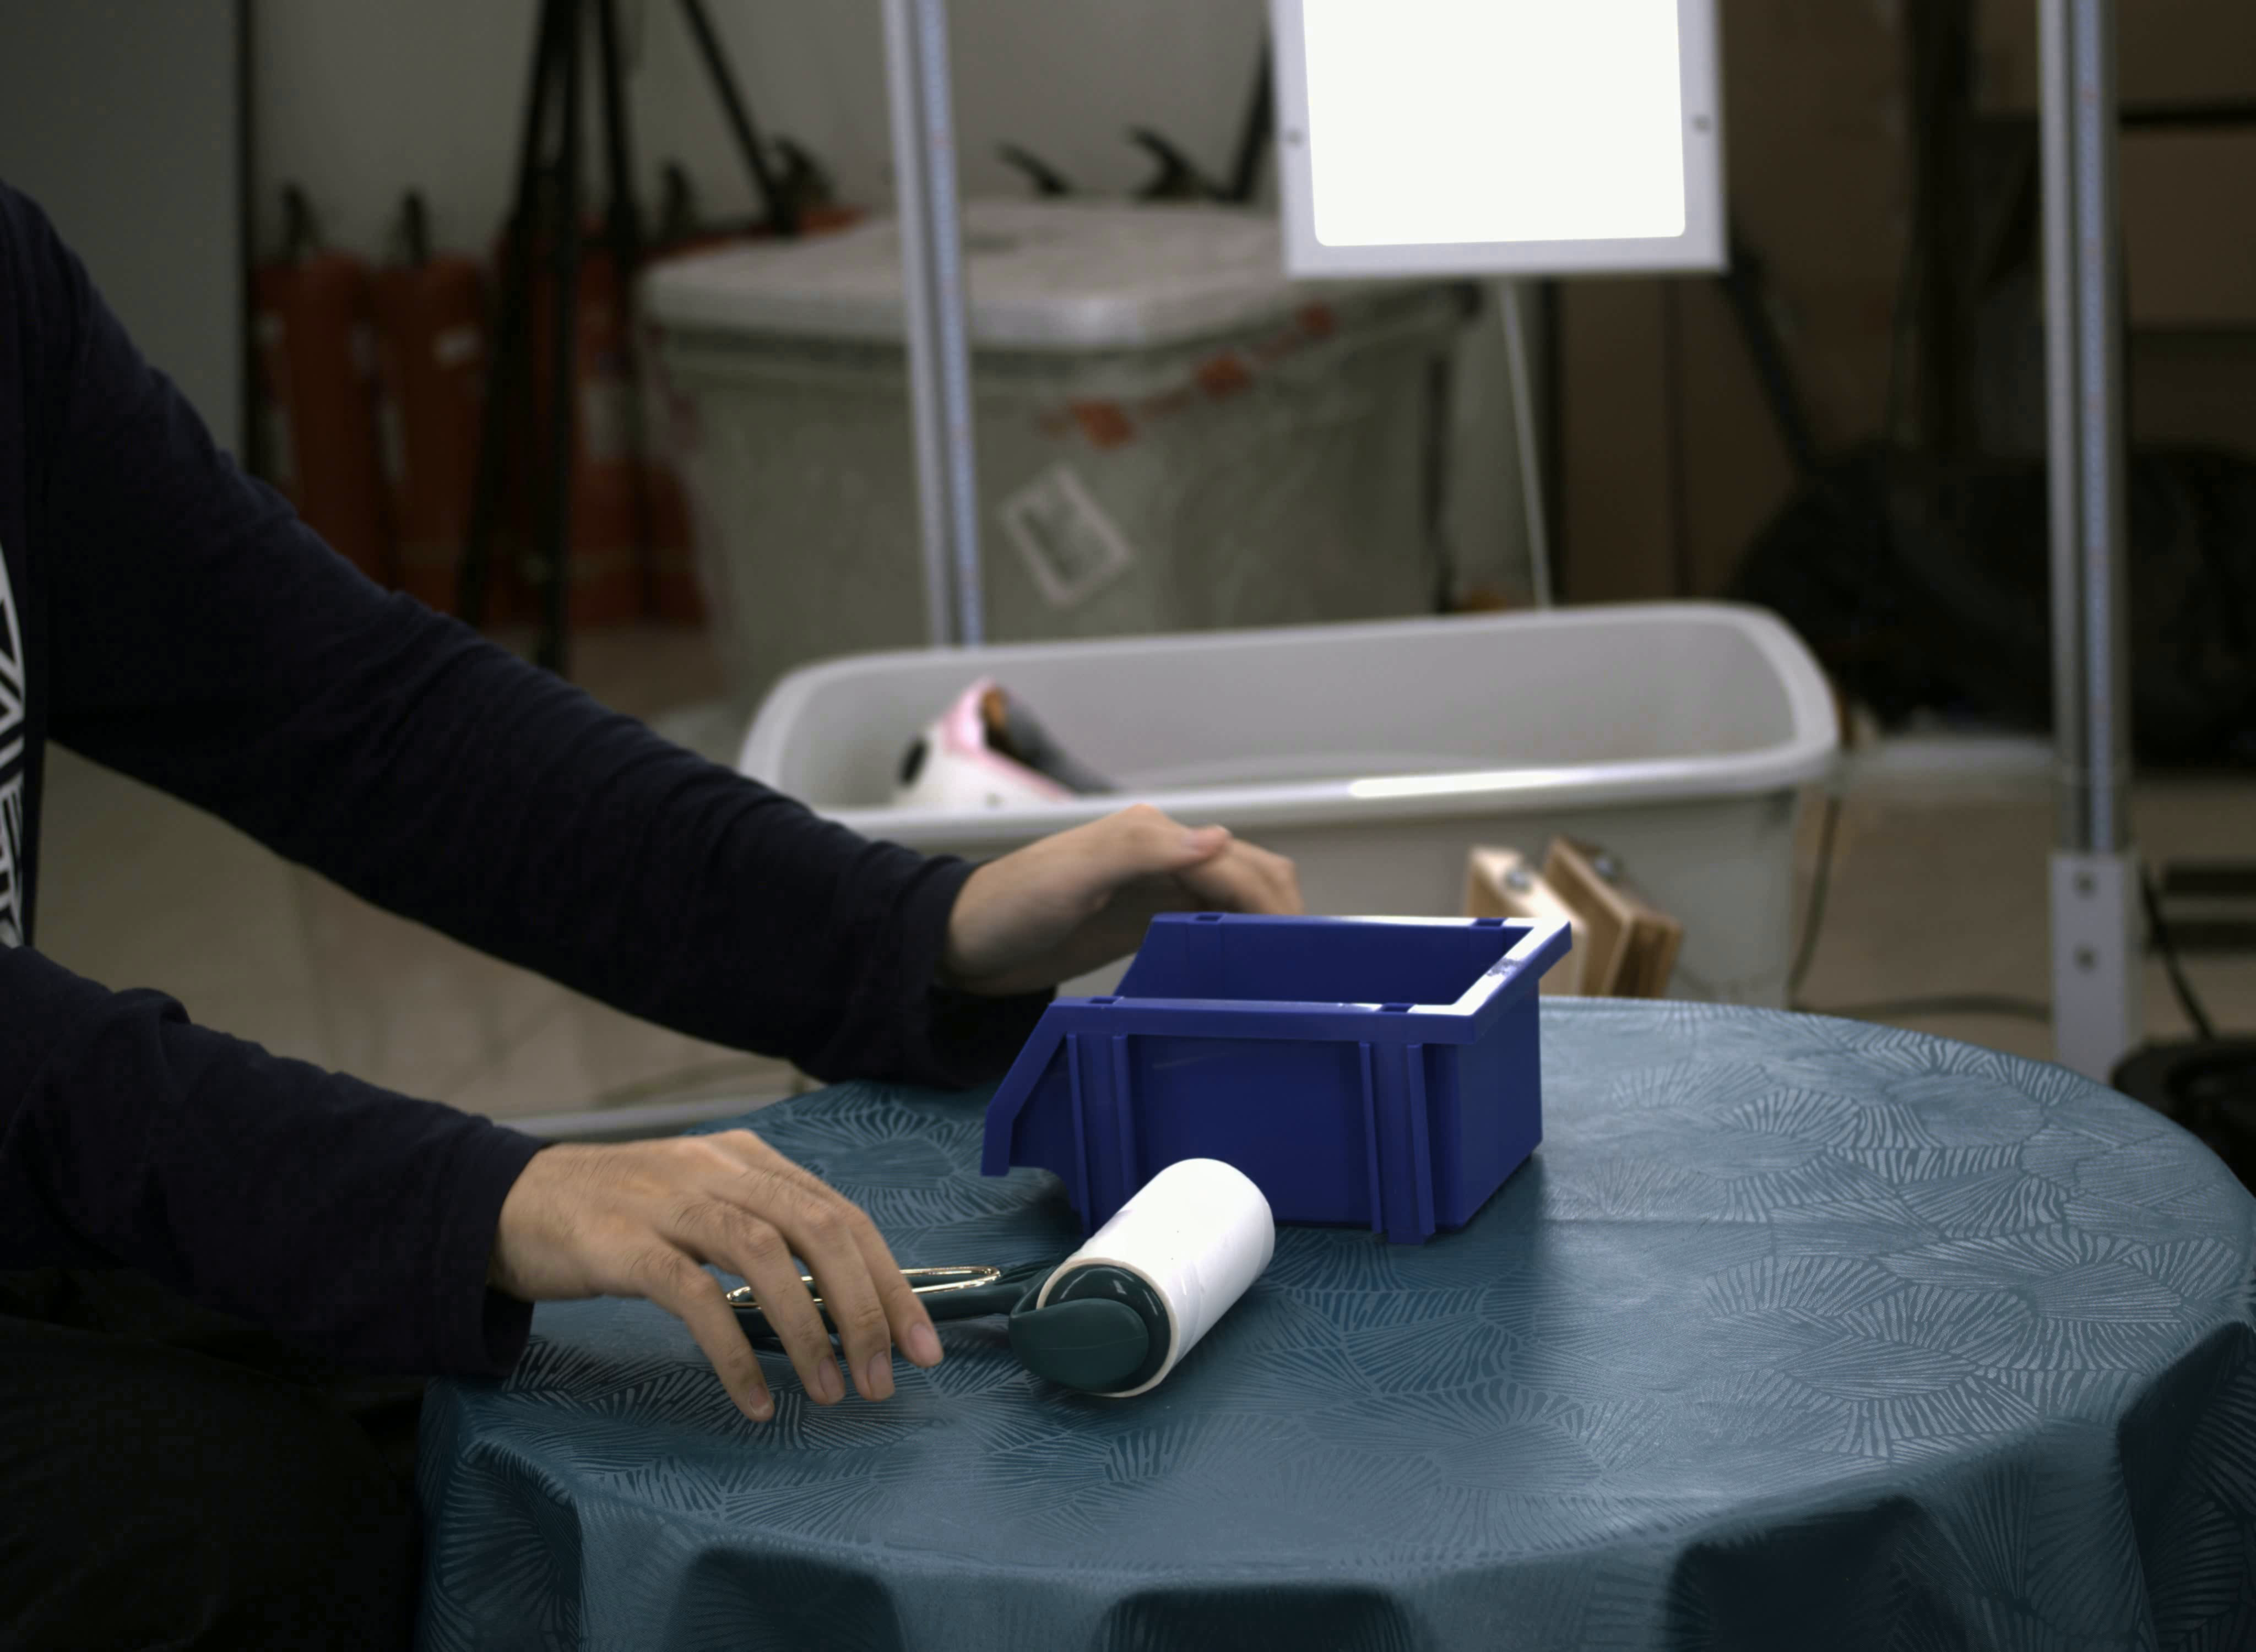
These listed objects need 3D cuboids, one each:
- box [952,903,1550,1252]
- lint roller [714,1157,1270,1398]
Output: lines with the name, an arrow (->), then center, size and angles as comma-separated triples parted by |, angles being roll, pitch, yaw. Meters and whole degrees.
box -> 0.043, 0.084, 1.890 | 0.182, 0.082, 0.122 | 4, 17, 24
lint roller -> -0.053, 0.146, 1.763 | 0.183, 0.048, 0.132 | -5, 14, 22
